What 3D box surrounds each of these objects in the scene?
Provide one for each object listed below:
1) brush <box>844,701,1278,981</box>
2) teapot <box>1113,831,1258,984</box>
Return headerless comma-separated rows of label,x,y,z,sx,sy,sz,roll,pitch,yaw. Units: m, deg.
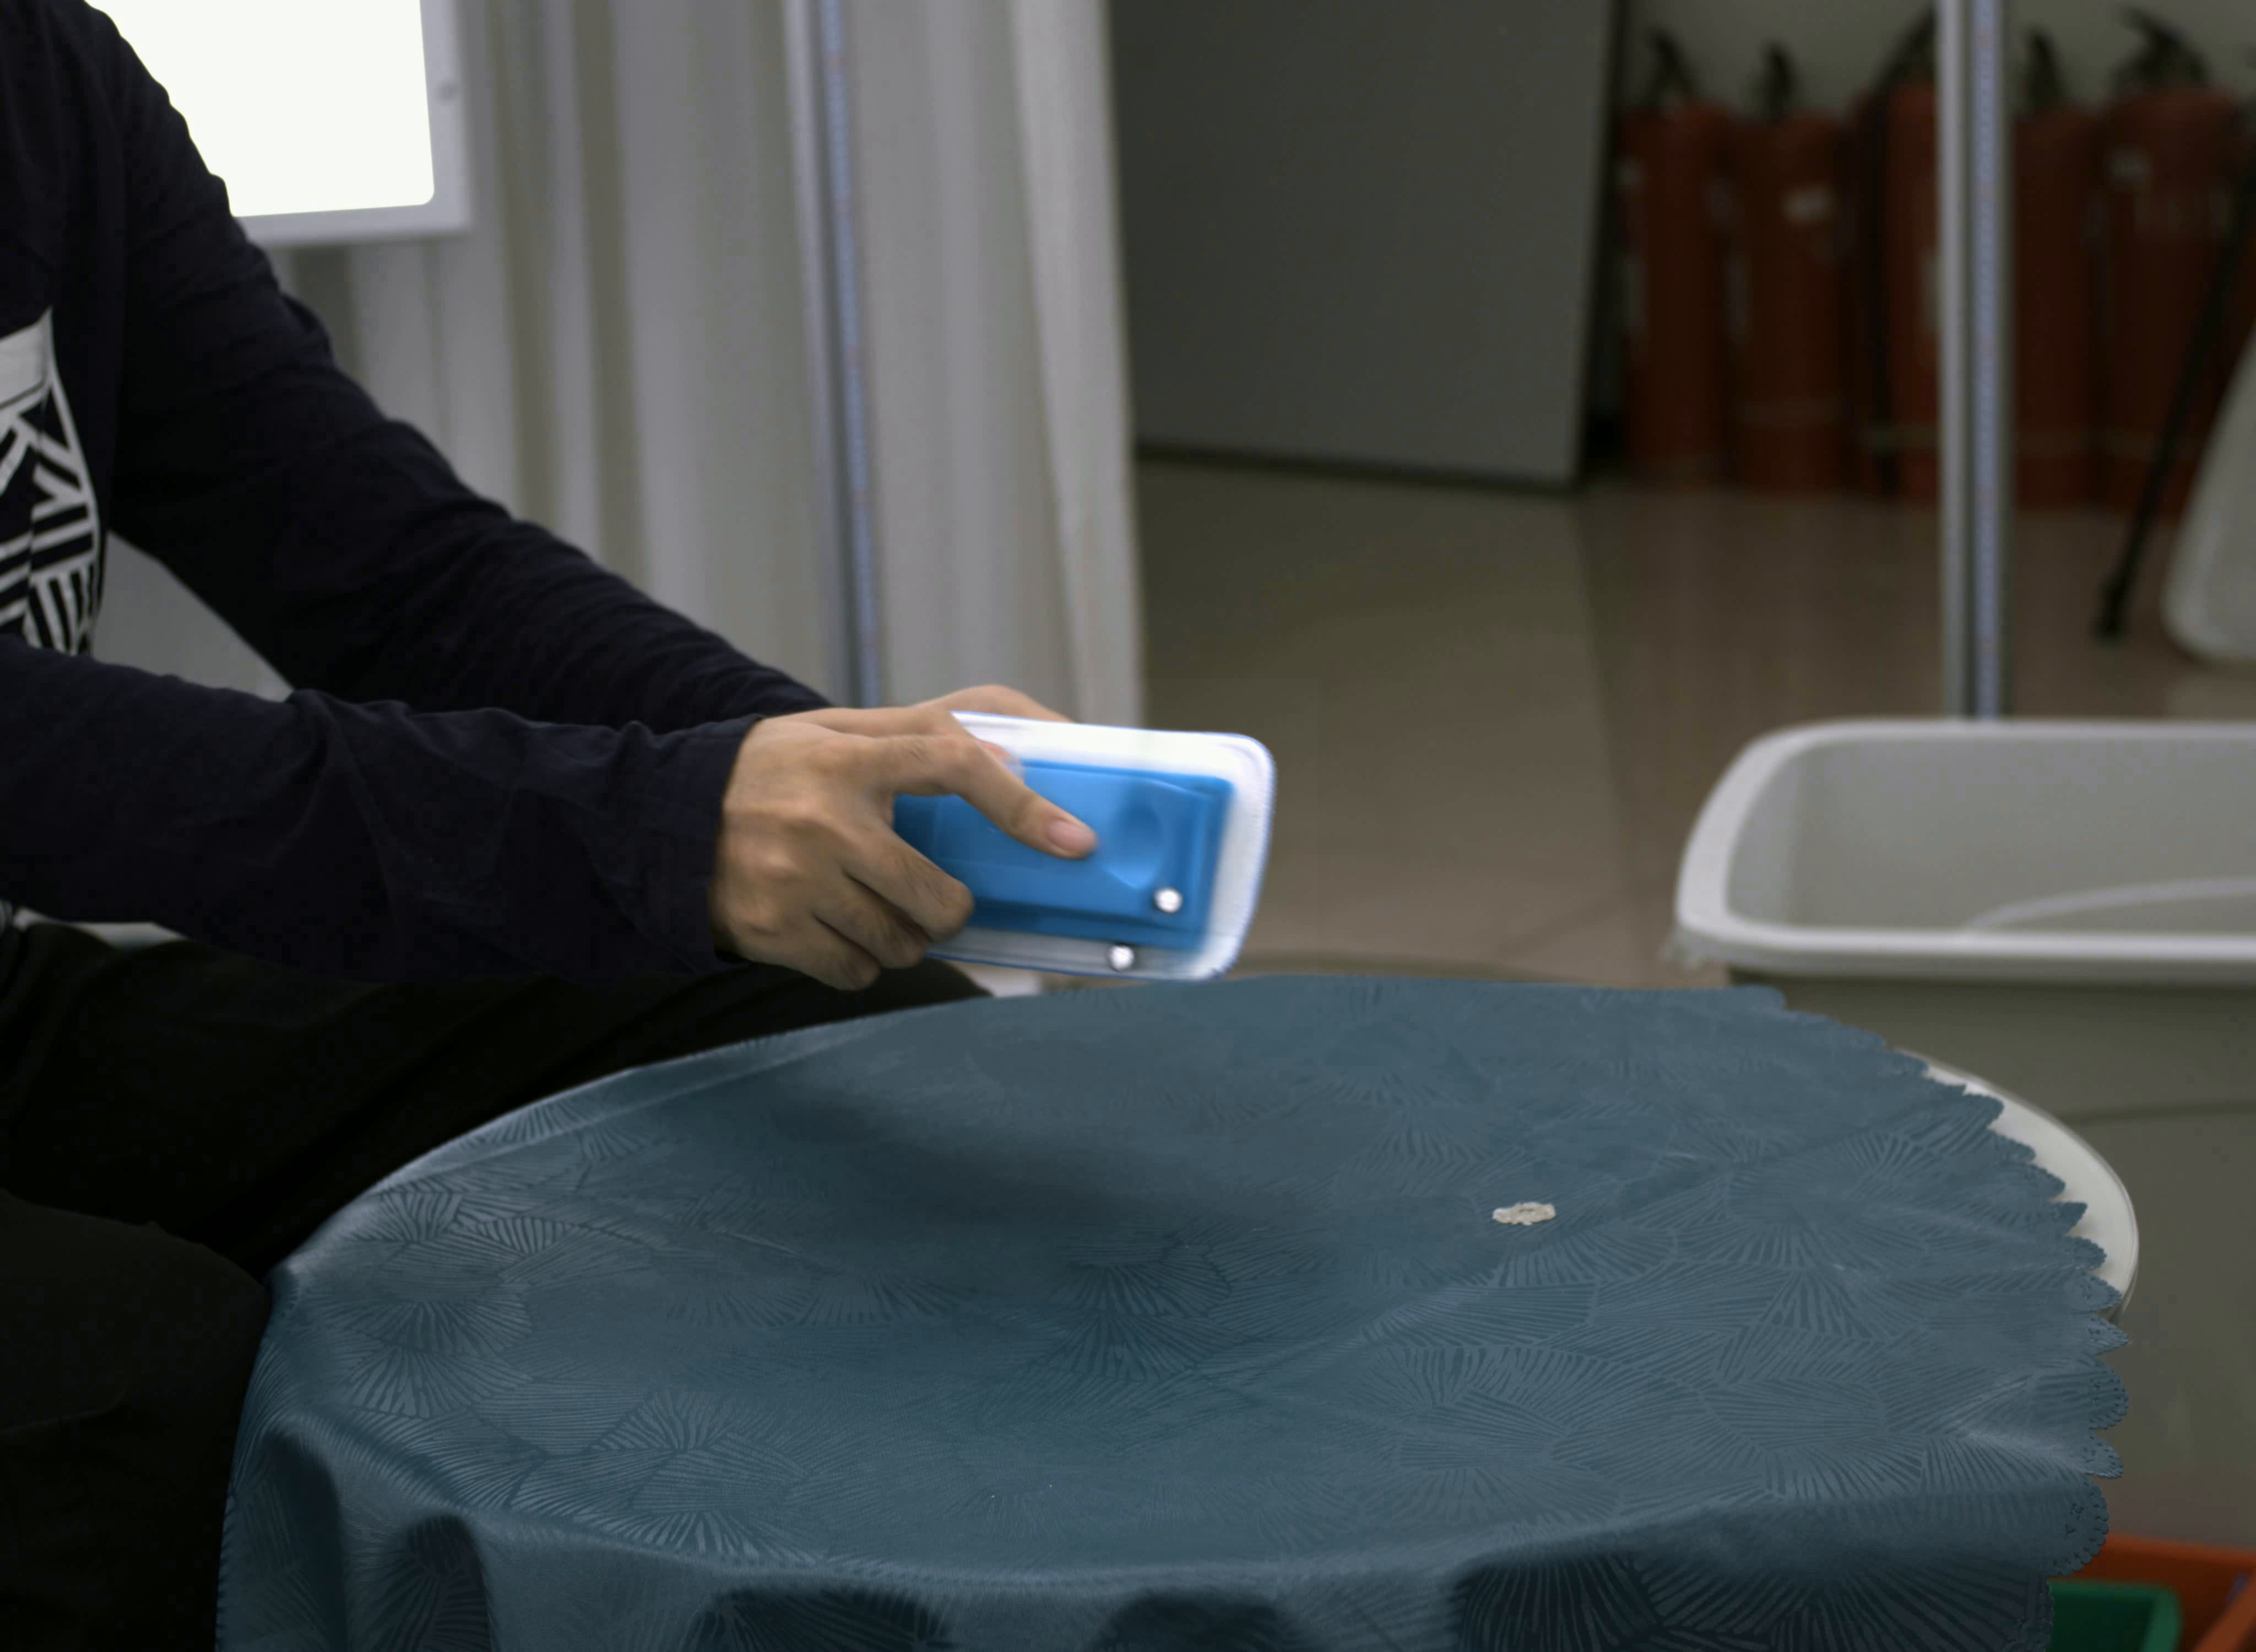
brush,-0.027,0.001,1.681,0.144,0.085,0.055,6,-14,29
teapot,-0.009,0.010,1.759,0.090,0.060,0.129,34,-8,-38
